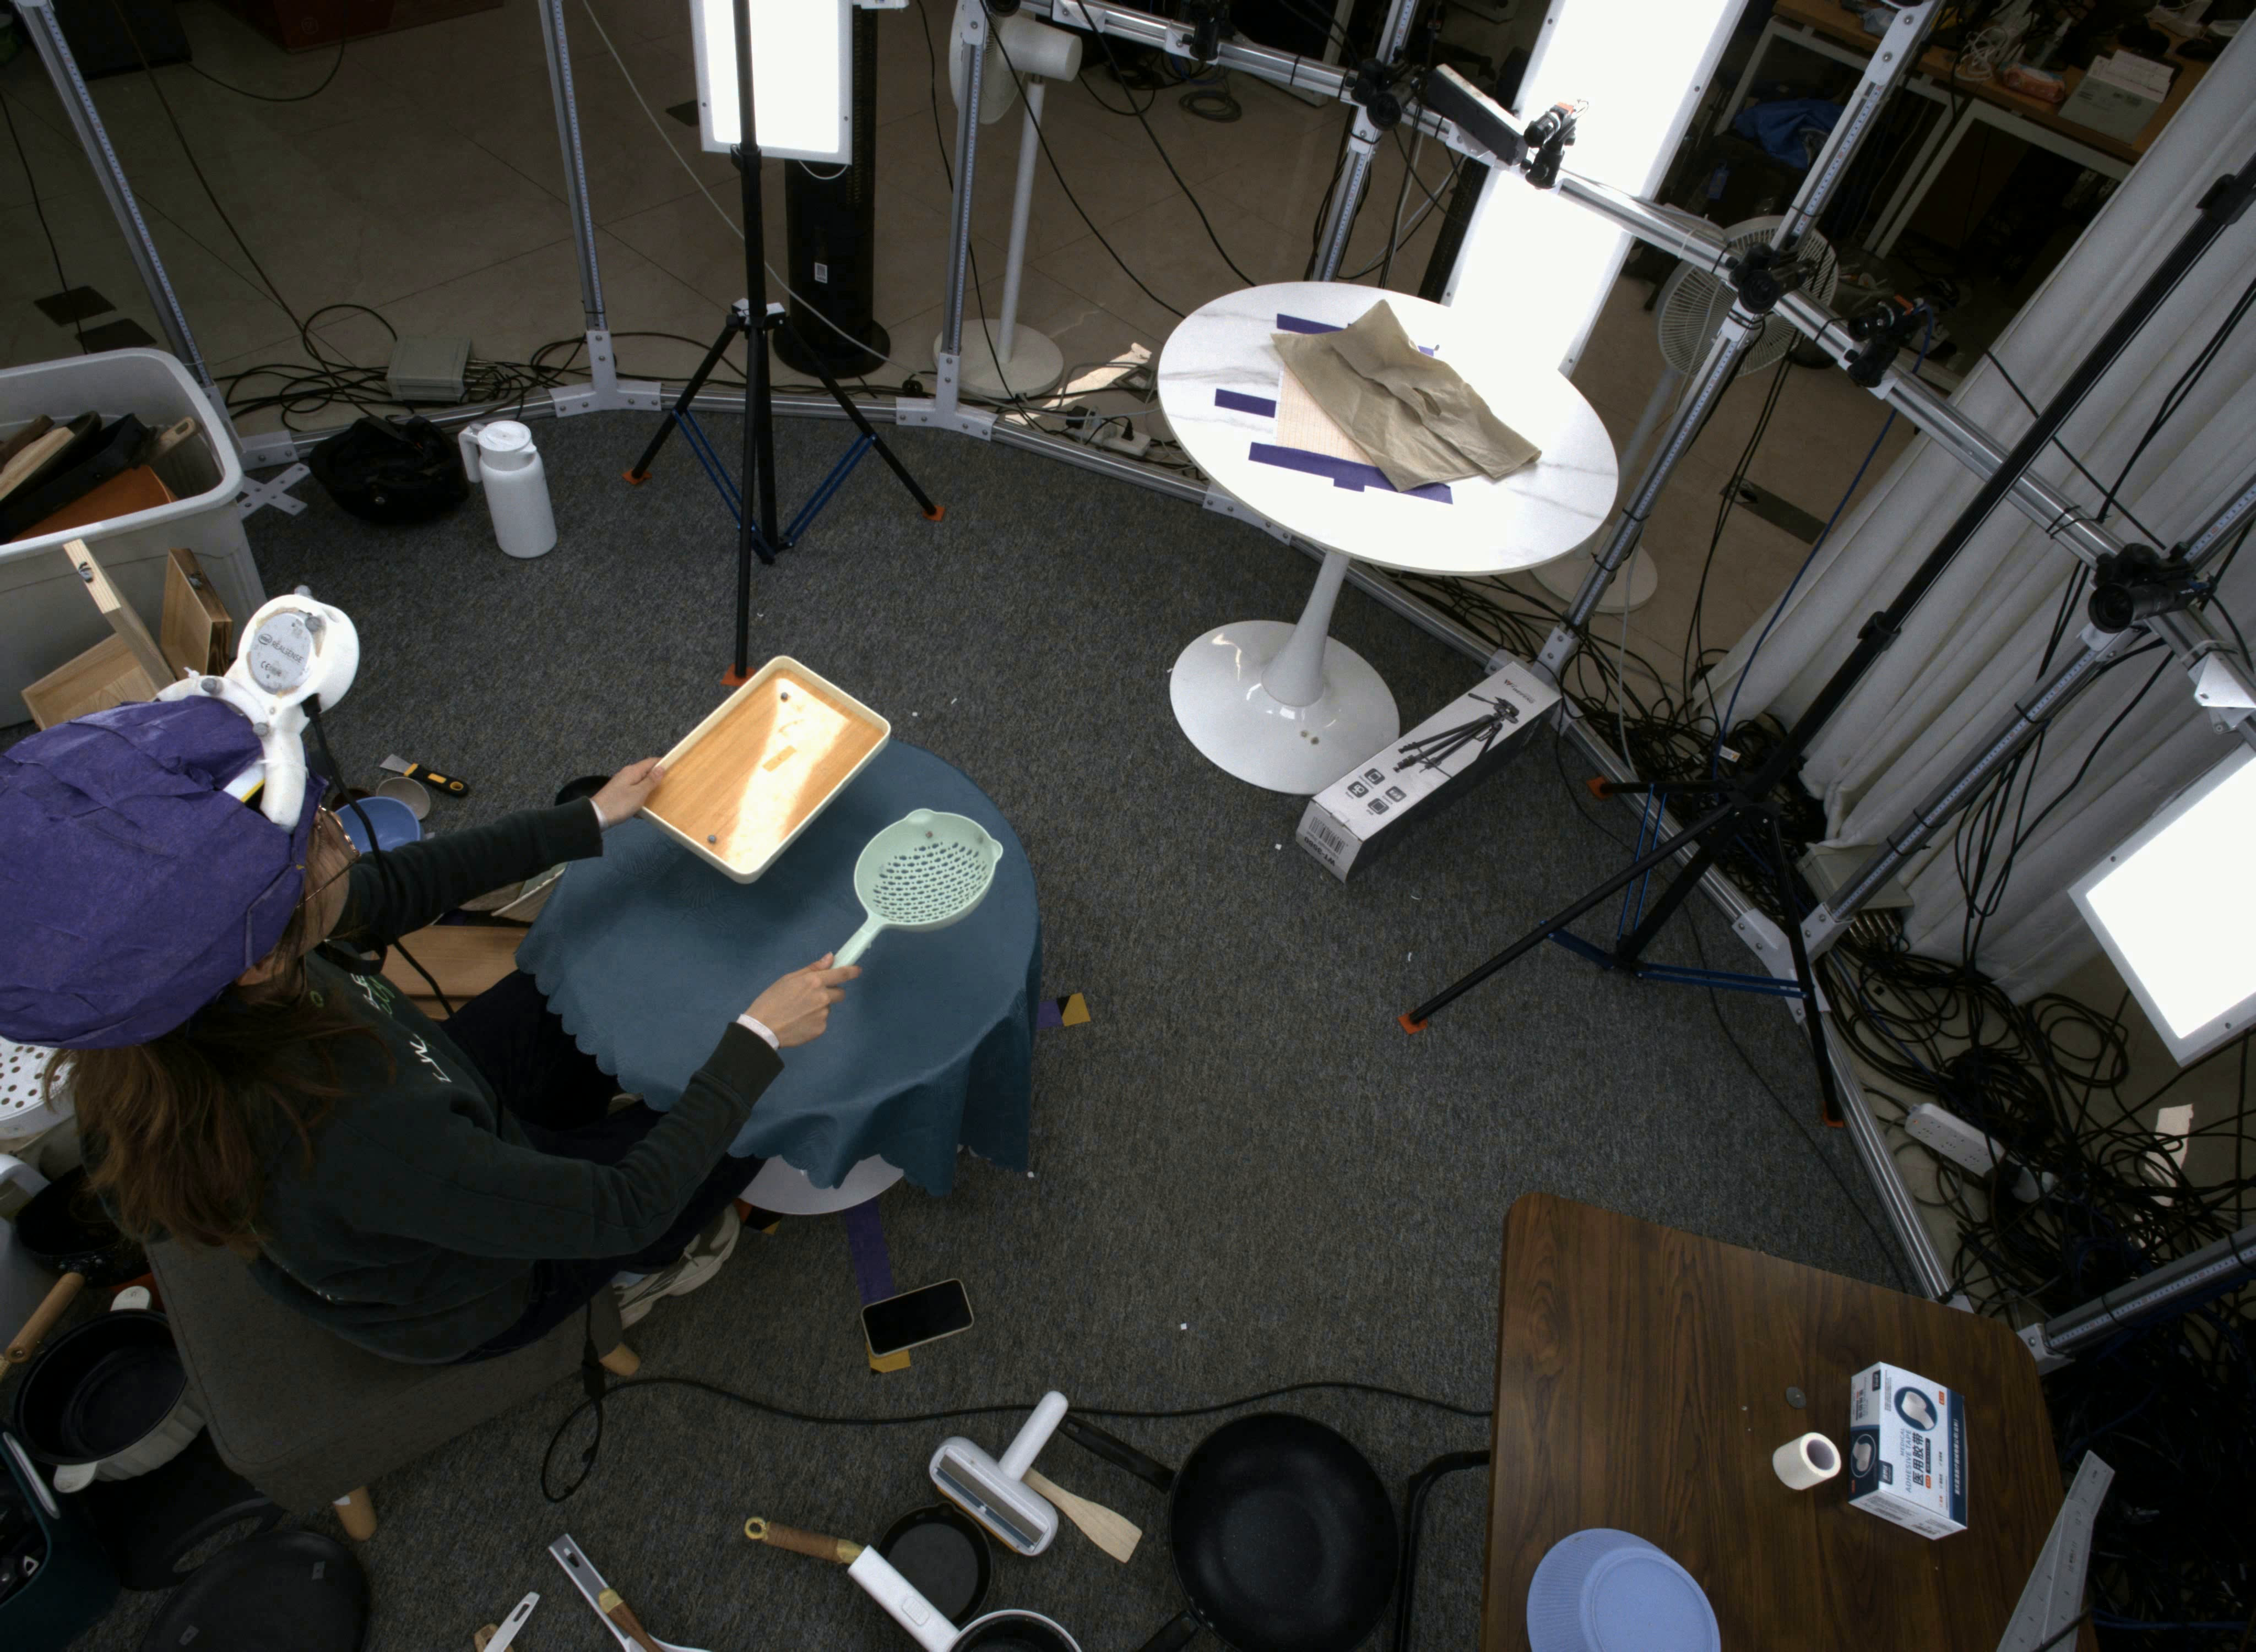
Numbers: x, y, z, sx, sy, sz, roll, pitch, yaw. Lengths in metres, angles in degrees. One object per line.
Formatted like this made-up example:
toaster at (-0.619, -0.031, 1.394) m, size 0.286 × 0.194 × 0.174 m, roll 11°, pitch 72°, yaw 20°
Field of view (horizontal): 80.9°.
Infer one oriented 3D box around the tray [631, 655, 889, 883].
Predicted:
tray at (-0.460, -0.079, 1.633) m, size 0.190 × 0.028 × 0.299 m, roll 34°, pitch 54°, yaw 4°

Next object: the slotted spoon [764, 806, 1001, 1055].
slotted spoon at (-0.292, 0.117, 1.488) m, size 0.164 × 0.078 × 0.358 m, roll 24°, pitch 48°, yaw 24°
